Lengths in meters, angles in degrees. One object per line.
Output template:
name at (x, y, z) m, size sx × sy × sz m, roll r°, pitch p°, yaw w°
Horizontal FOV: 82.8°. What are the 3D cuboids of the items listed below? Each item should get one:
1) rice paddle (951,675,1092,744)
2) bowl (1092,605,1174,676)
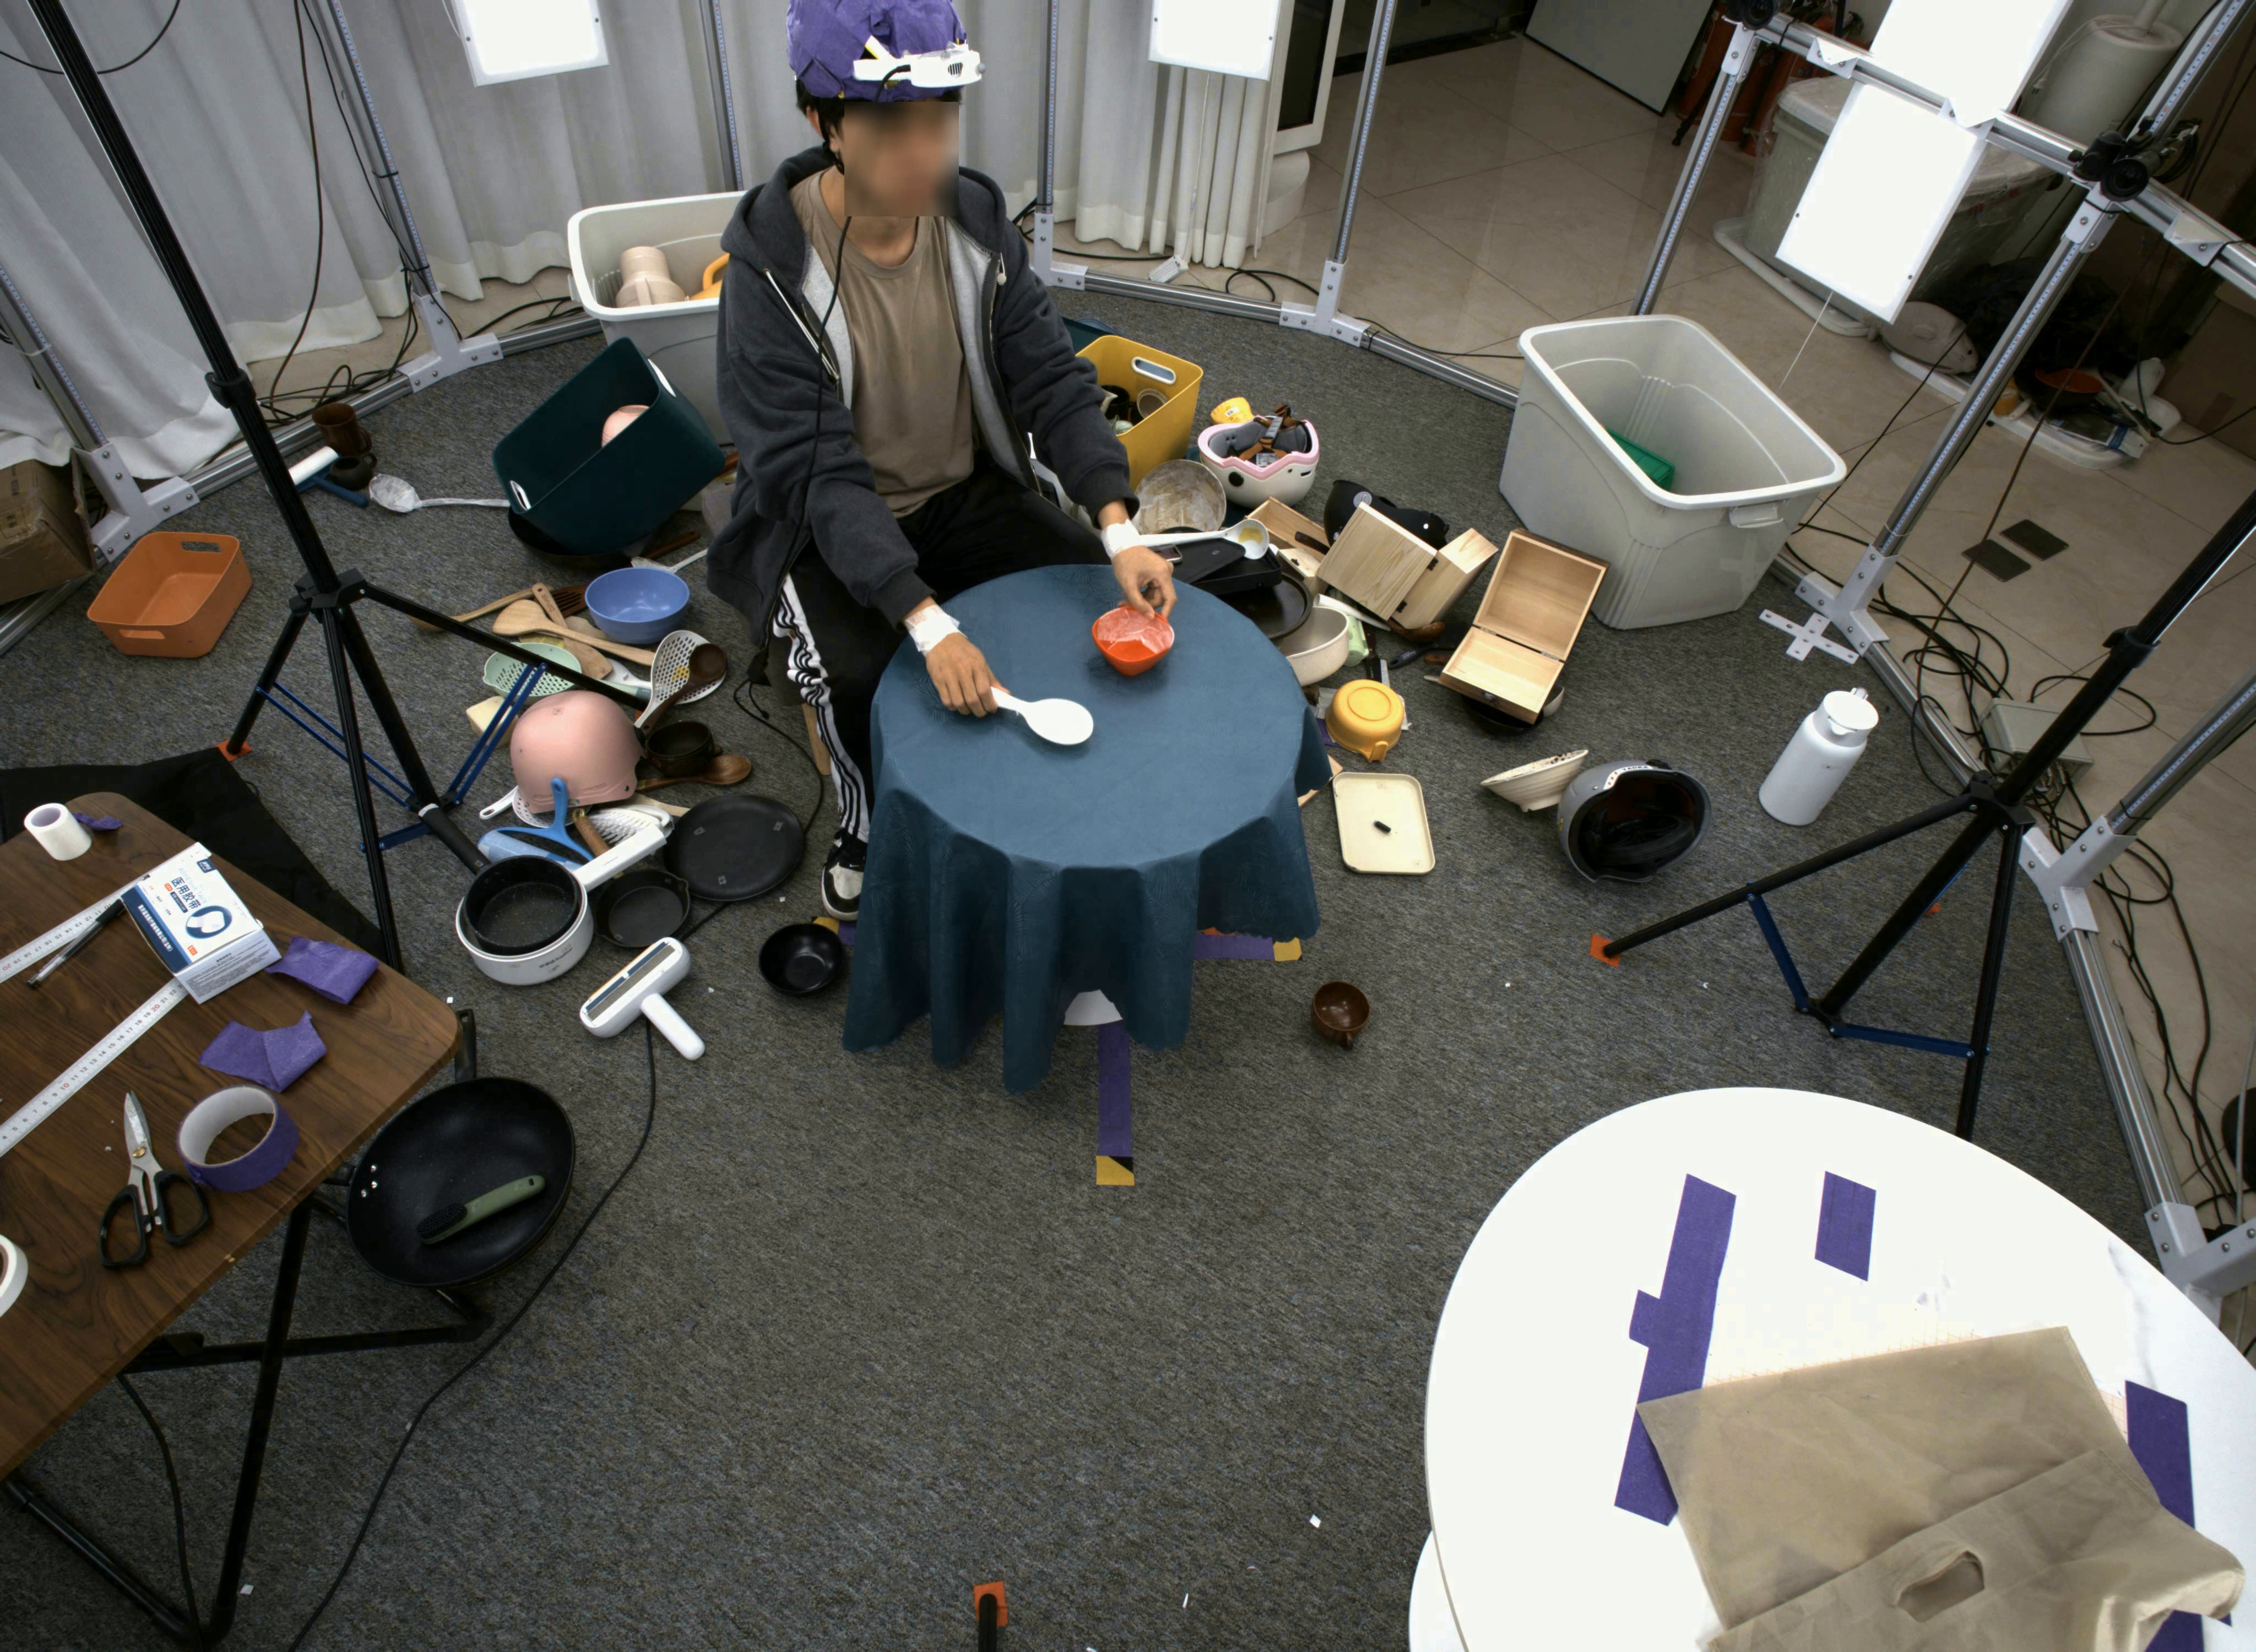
rice paddle at (-0.145, -0.163, 1.767) m, size 0.206 × 0.029 × 0.070 m, roll 20°, pitch 59°, yaw 12°
bowl at (0.006, -0.263, 1.861) m, size 0.119 × 0.050 × 0.122 m, roll 2°, pitch 50°, yaw -2°
